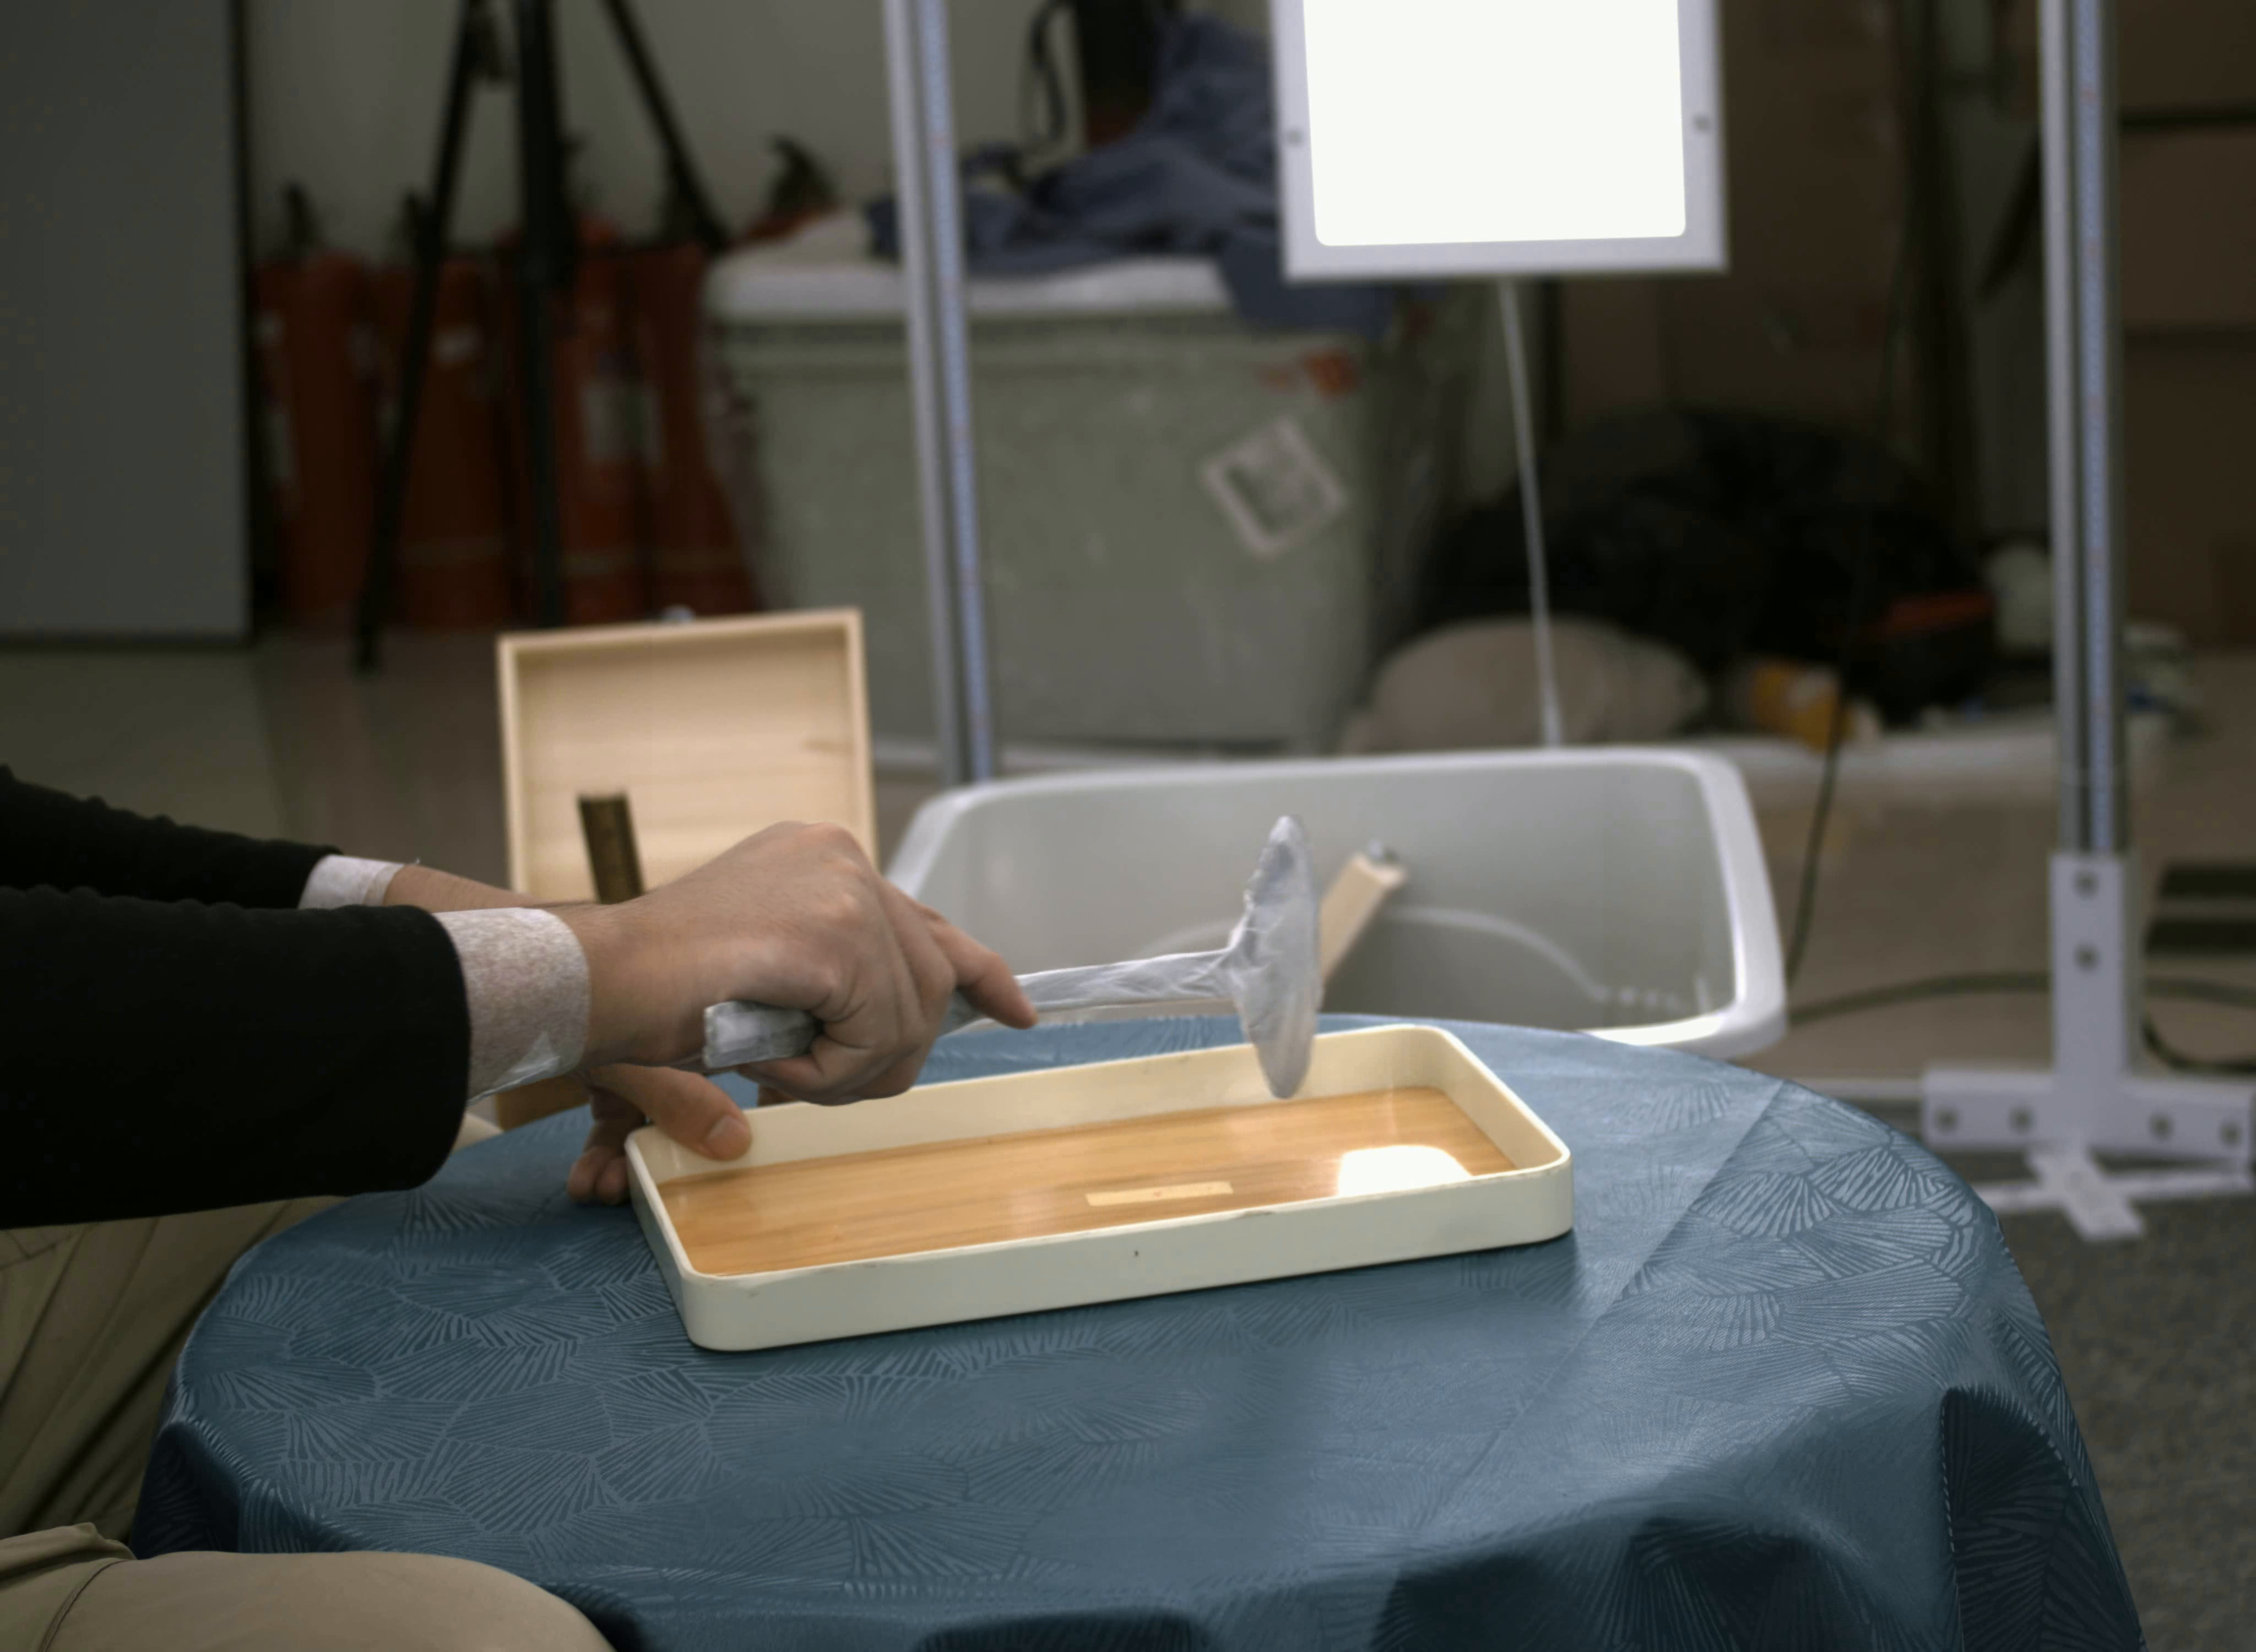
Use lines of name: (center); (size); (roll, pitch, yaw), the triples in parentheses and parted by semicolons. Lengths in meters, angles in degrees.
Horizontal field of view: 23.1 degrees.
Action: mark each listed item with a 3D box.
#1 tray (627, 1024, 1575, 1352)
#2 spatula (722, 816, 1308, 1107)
tray: (-0.013, 0.120, 1.871); (0.297, 0.027, 0.192); (-7, 14, -8)
spatula: (-0.028, 0.053, 1.745); (0.046, 0.099, 0.356); (3, 4, 37)
